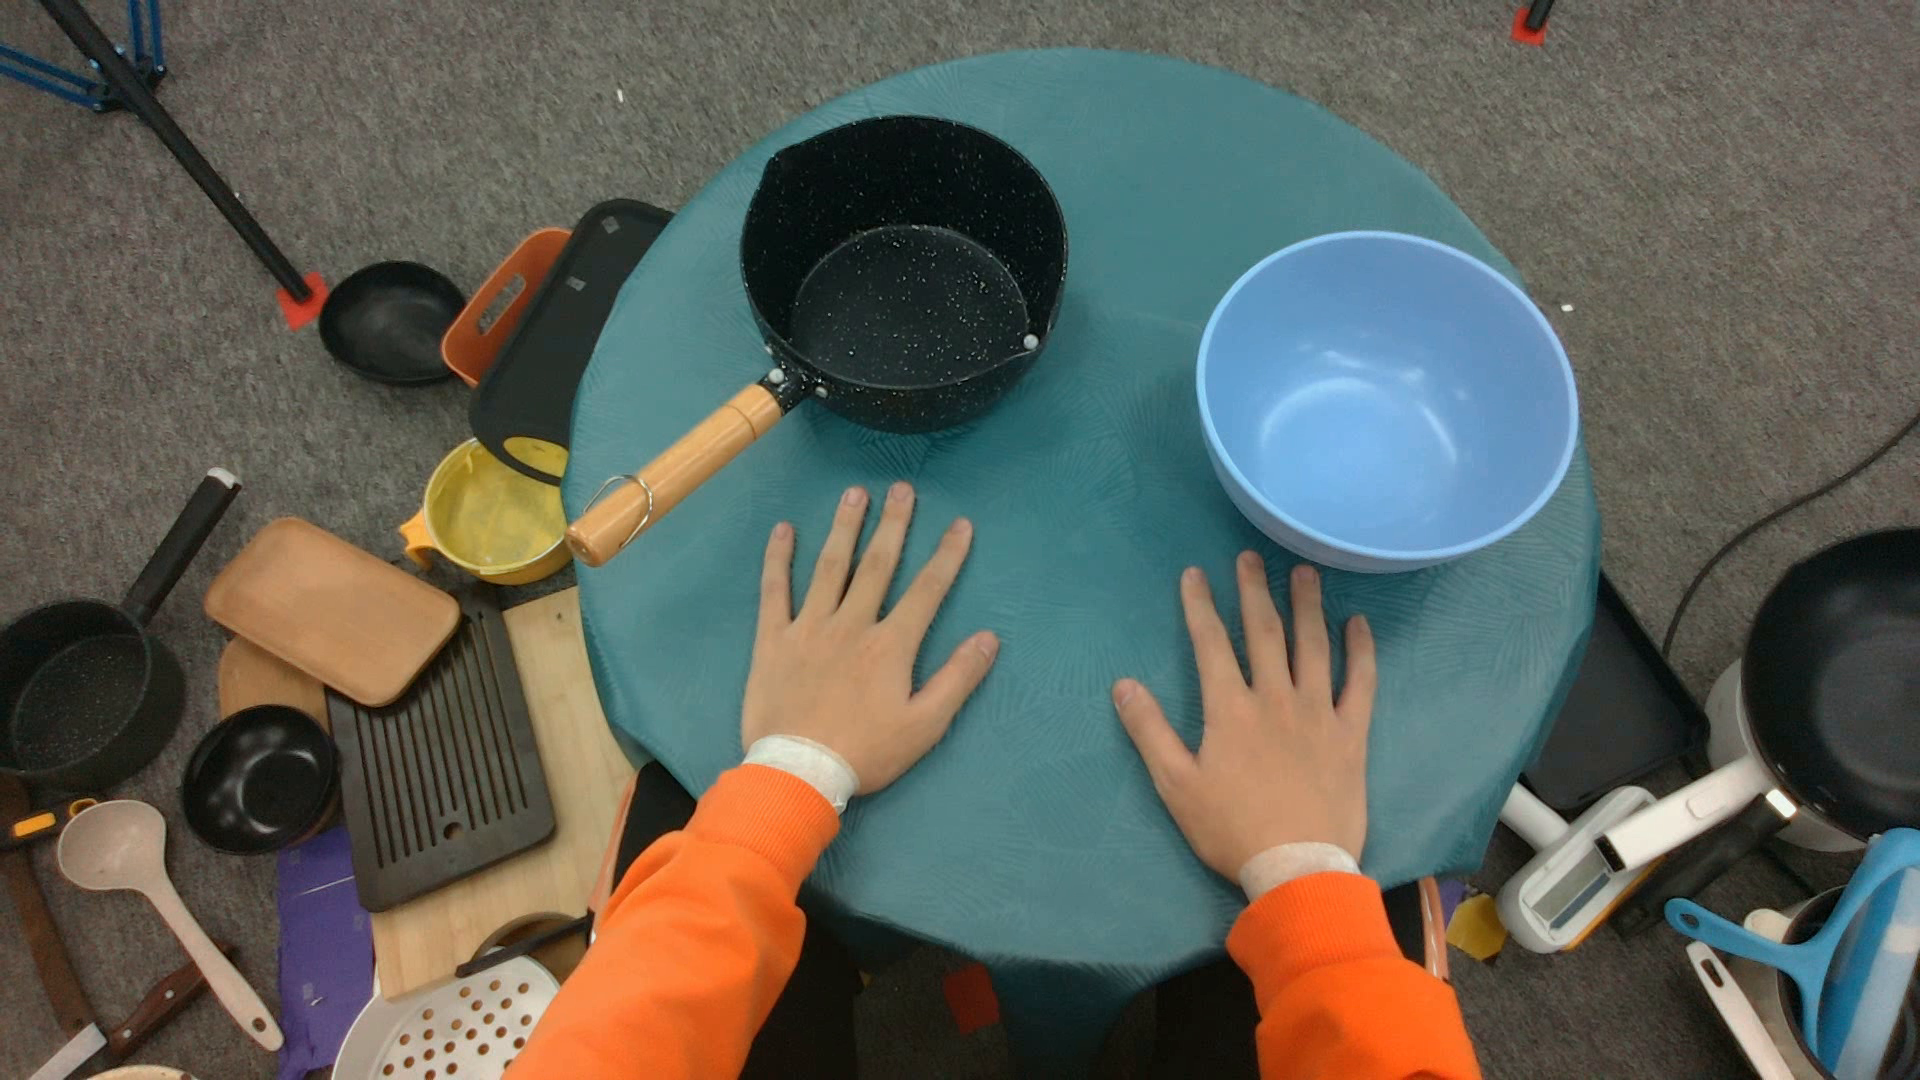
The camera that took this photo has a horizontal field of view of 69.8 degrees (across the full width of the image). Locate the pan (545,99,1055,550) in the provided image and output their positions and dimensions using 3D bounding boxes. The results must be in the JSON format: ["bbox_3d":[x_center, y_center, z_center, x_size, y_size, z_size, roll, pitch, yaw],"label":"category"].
[{"bbox_3d":[-0.089,-0.103,0.768,0.207,0.108,0.344,36,69,13],"label":"pan"}]

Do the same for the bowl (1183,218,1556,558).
[{"bbox_3d":[0.214,-0.070,0.764,0.196,0.095,0.197,1,66,-1],"label":"bowl"}]
